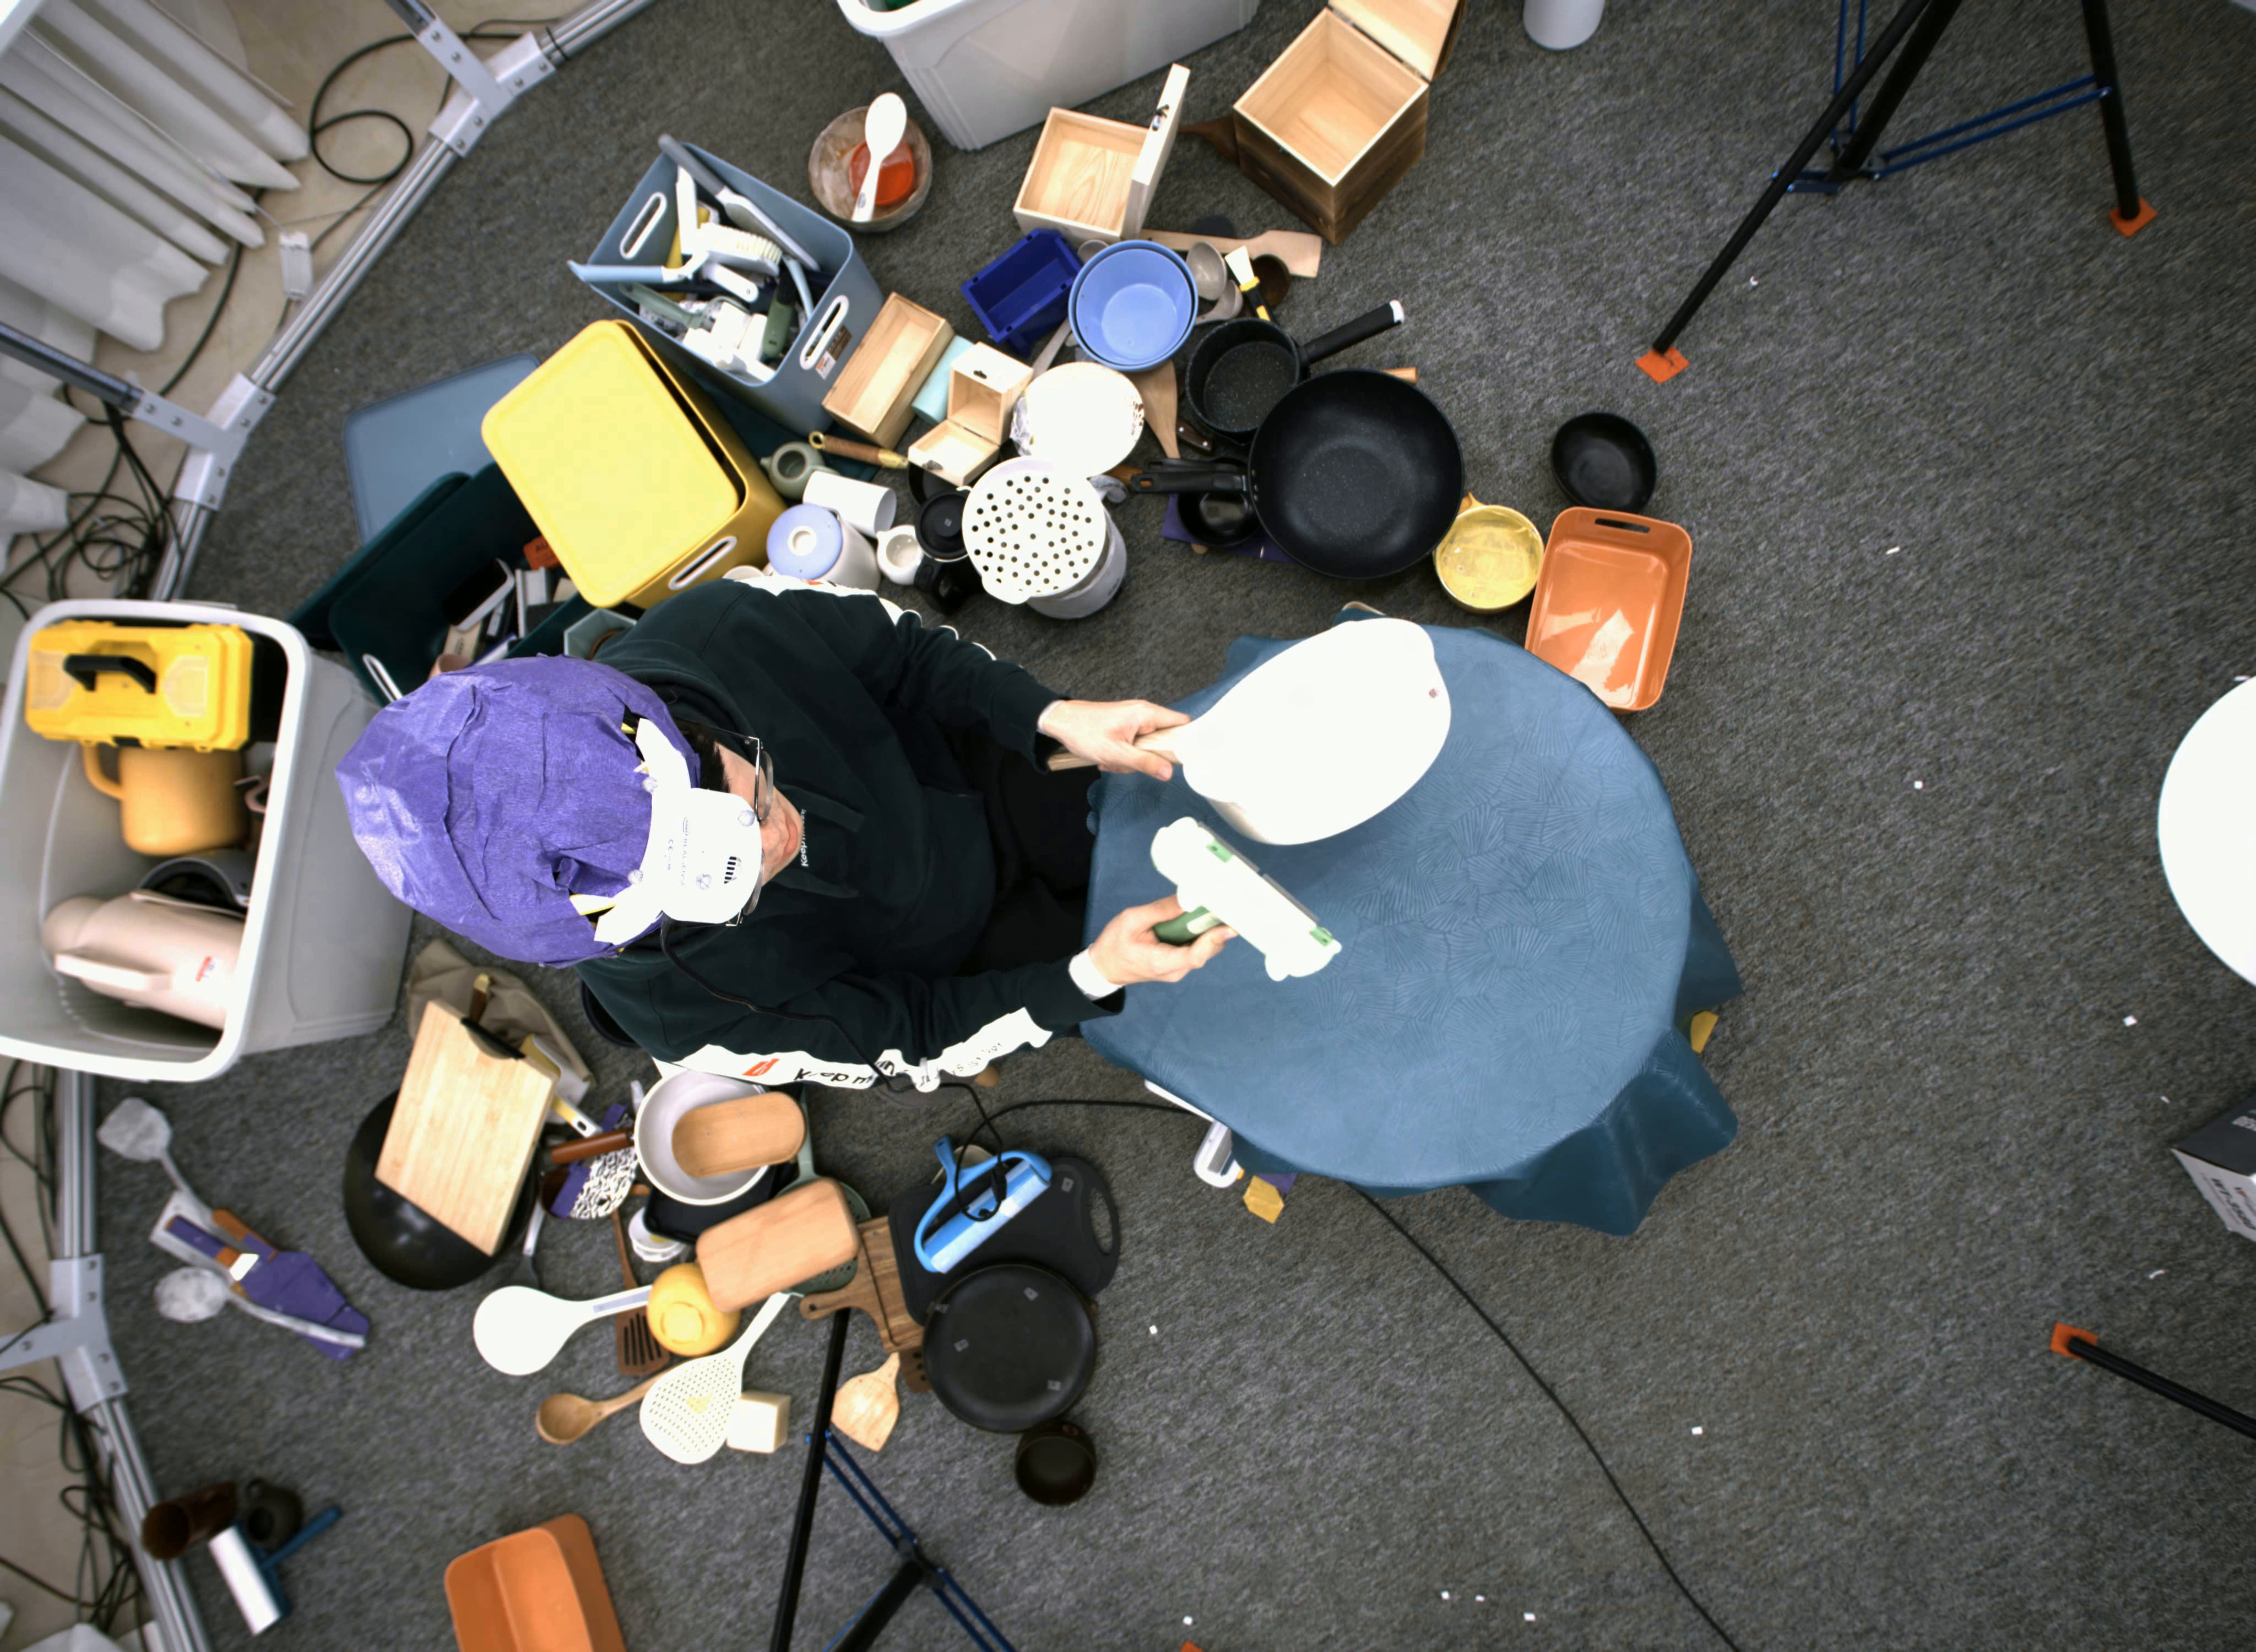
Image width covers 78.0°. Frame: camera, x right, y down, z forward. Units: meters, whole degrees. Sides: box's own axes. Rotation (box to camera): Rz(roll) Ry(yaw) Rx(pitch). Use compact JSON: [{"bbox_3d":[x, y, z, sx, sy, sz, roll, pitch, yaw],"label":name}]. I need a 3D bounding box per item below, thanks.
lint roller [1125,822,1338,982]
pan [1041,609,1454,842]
[{"bbox_3d":[0.061,0.096,1.263,0.200,0.080,0.187,37,130,-28],"label":"lint roller"},{"bbox_3d":[0.107,-0.076,1.311,0.440,0.256,0.103,-12,129,39],"label":"pan"}]
